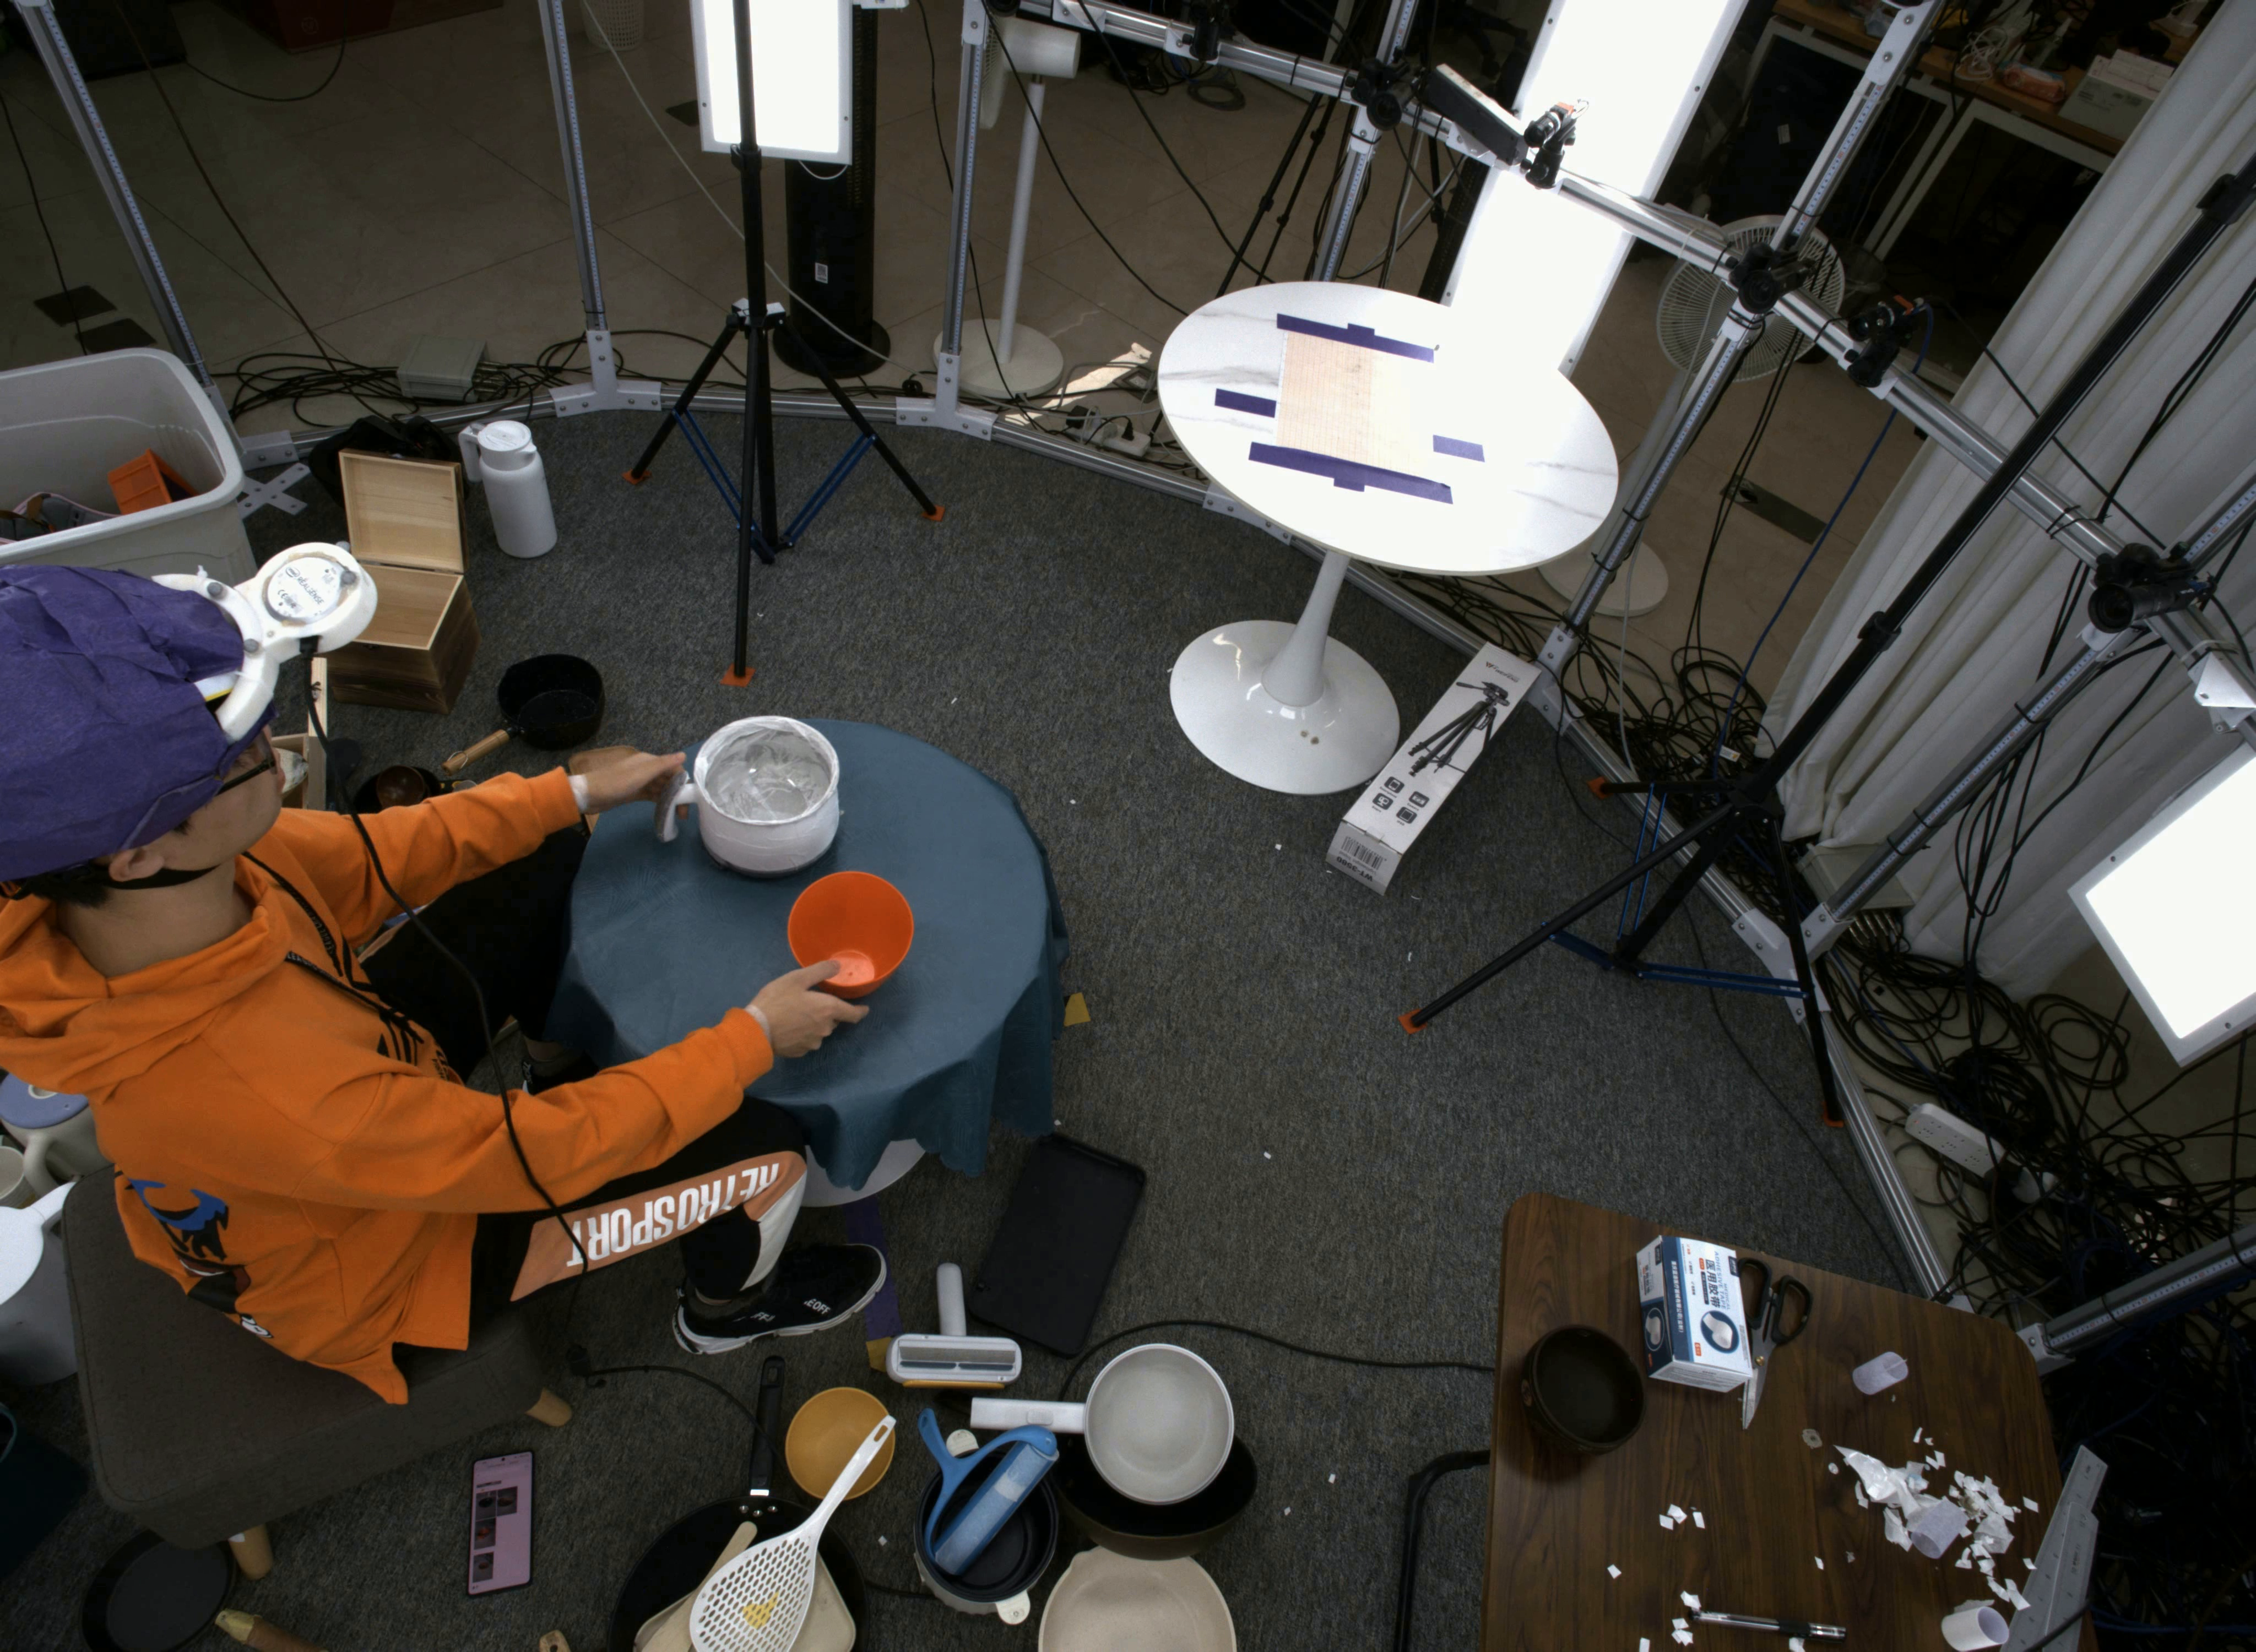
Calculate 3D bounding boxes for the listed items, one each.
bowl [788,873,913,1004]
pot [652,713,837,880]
[{"bbox_3d":[-0.334,0.146,1.567,0.148,0.107,0.145,7,53,-8],"label":"bowl"},{"bbox_3d":[-0.484,-0.031,1.631,0.235,0.139,0.174,-7,54,-20],"label":"pot"}]
